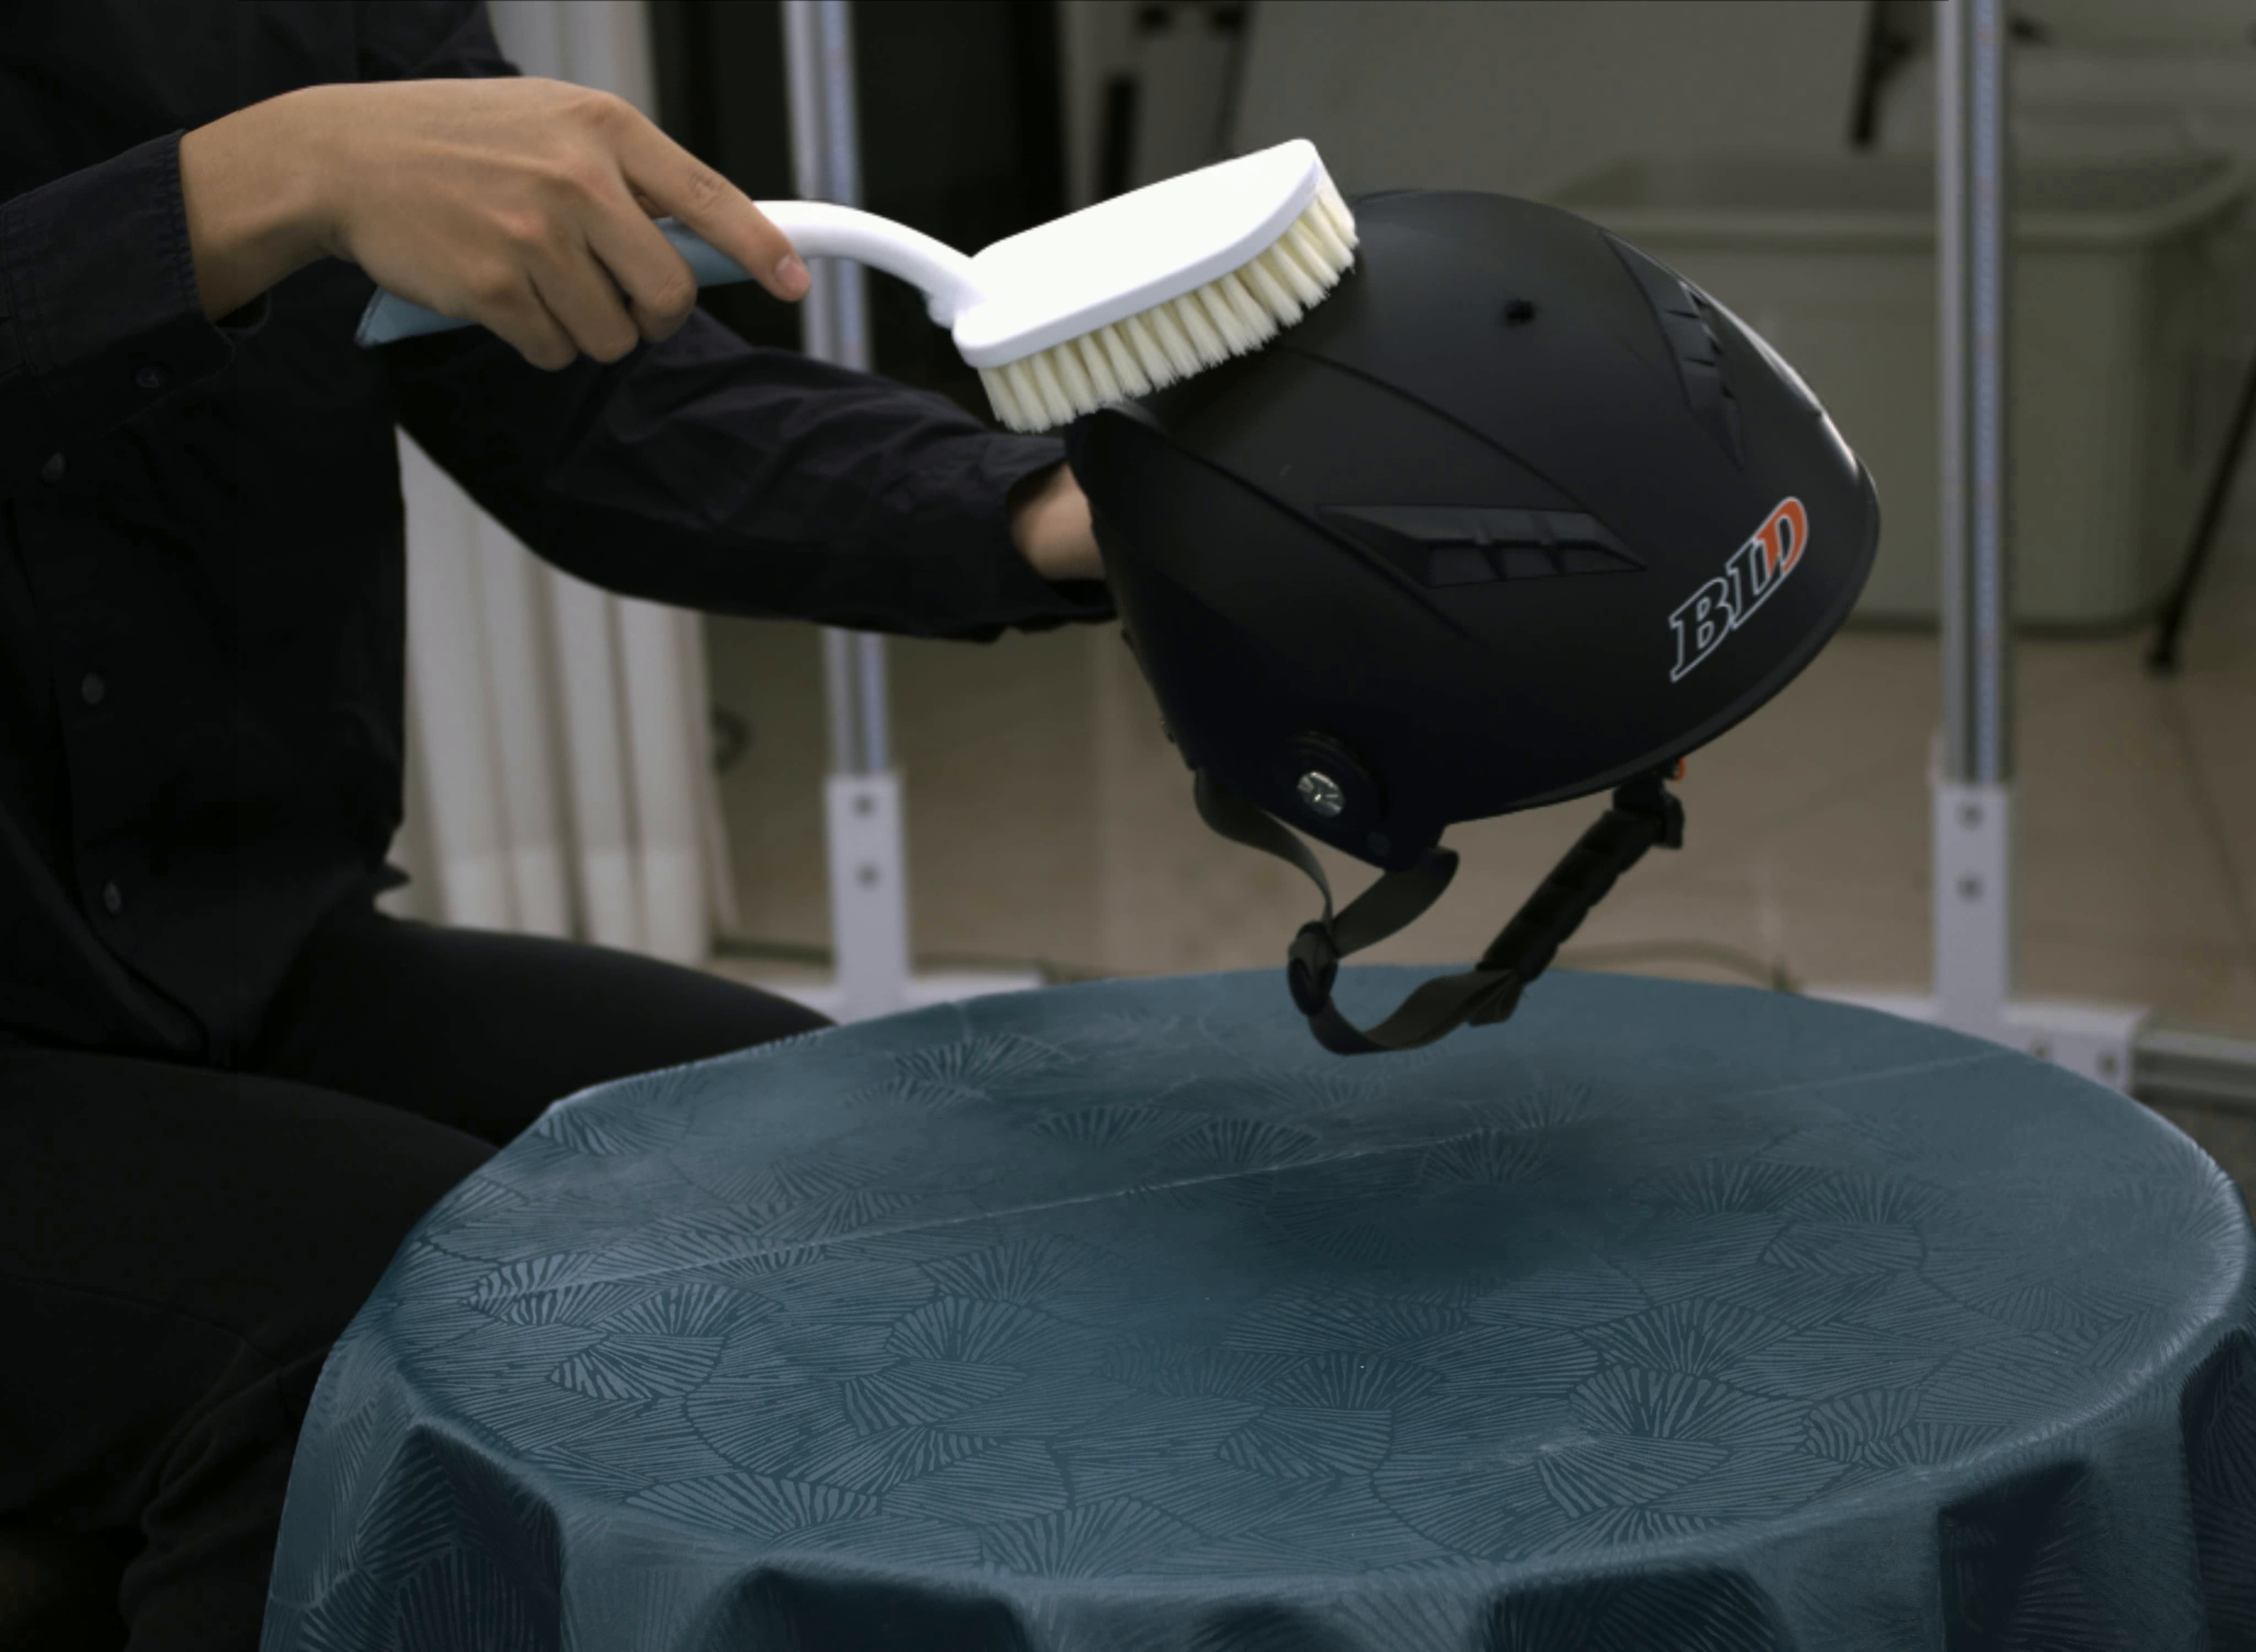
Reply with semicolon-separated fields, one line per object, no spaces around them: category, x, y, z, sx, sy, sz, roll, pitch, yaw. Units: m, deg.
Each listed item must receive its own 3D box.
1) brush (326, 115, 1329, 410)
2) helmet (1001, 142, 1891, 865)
brush;-0.093;-0.164;1.727;0.323;0.085;0.082;-9;-4;8
helmet;0.094;-0.123;1.742;0.245;0.171;0.279;-45;33;-20
